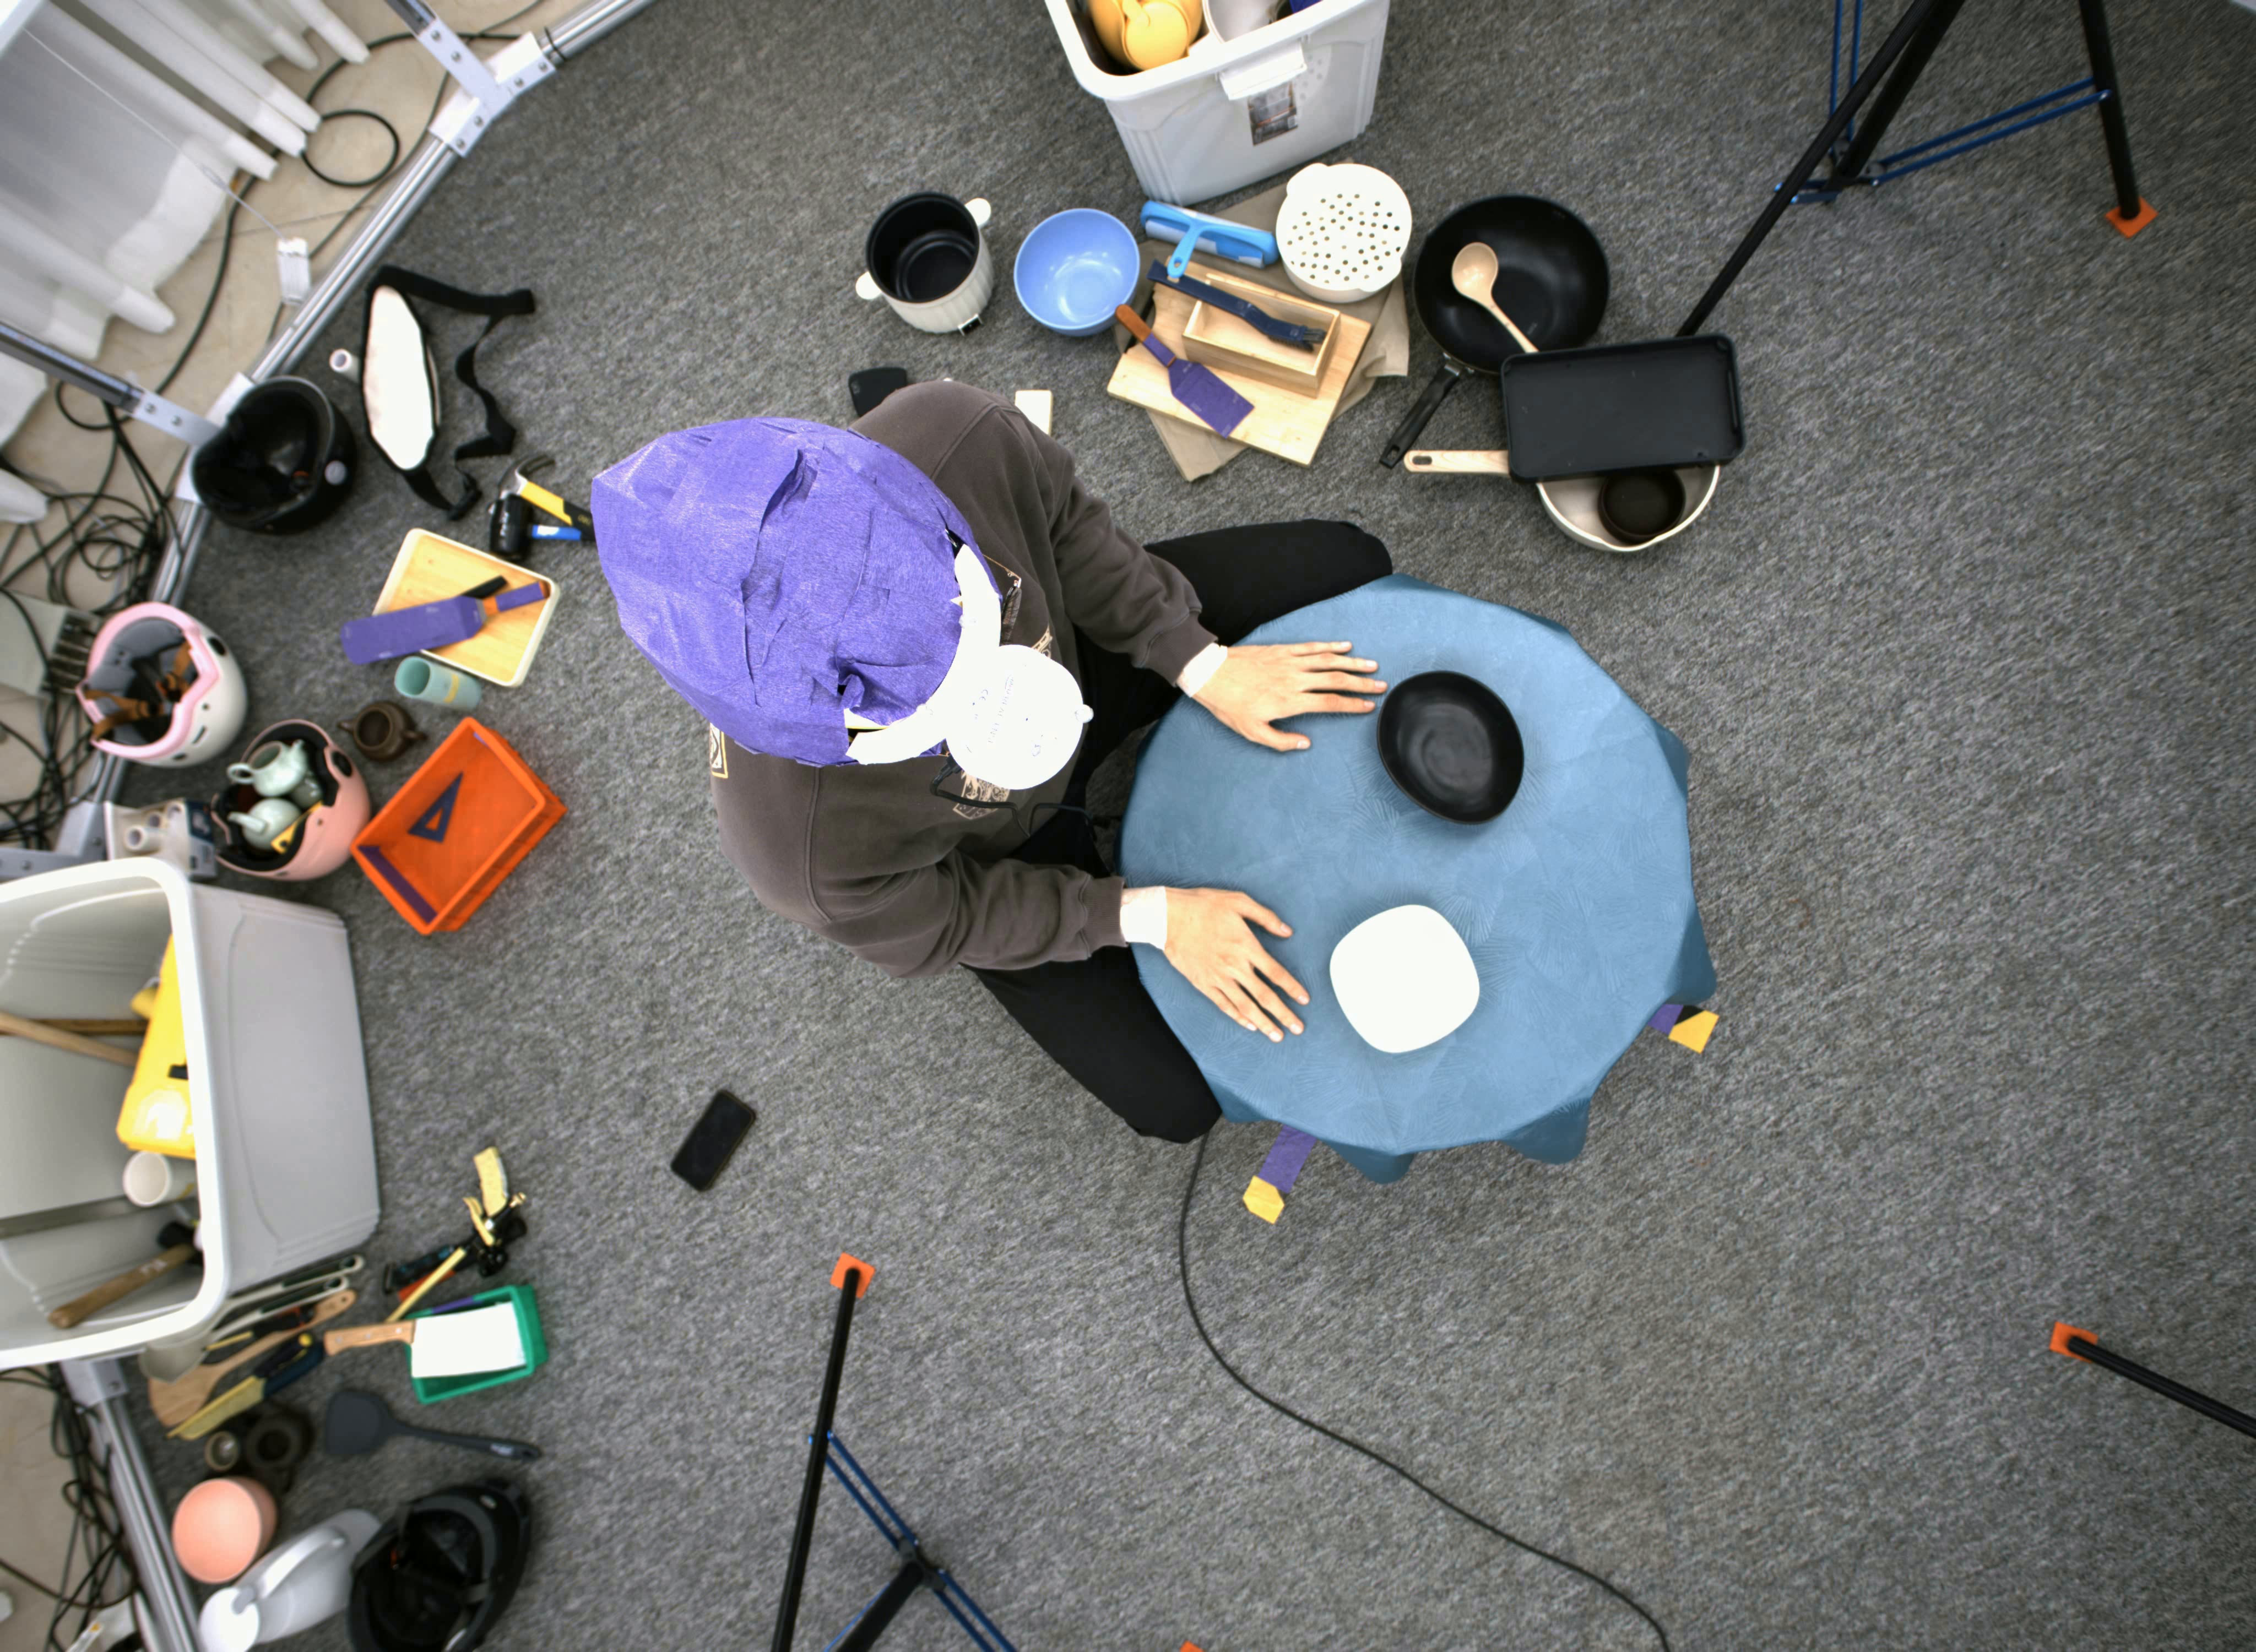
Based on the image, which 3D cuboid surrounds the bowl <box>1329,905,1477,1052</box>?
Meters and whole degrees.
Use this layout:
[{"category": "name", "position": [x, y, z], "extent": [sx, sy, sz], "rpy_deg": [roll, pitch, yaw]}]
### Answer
[{"category": "bowl", "position": [0.281, 0.155, 1.422], "extent": [0.152, 0.059, 0.151], "rpy_deg": [-1, 86, 8]}]

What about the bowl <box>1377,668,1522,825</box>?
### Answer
[{"category": "bowl", "position": [0.332, -0.082, 1.421], "extent": [0.138, 0.066, 0.169], "rpy_deg": [-36, 83, 7]}]
